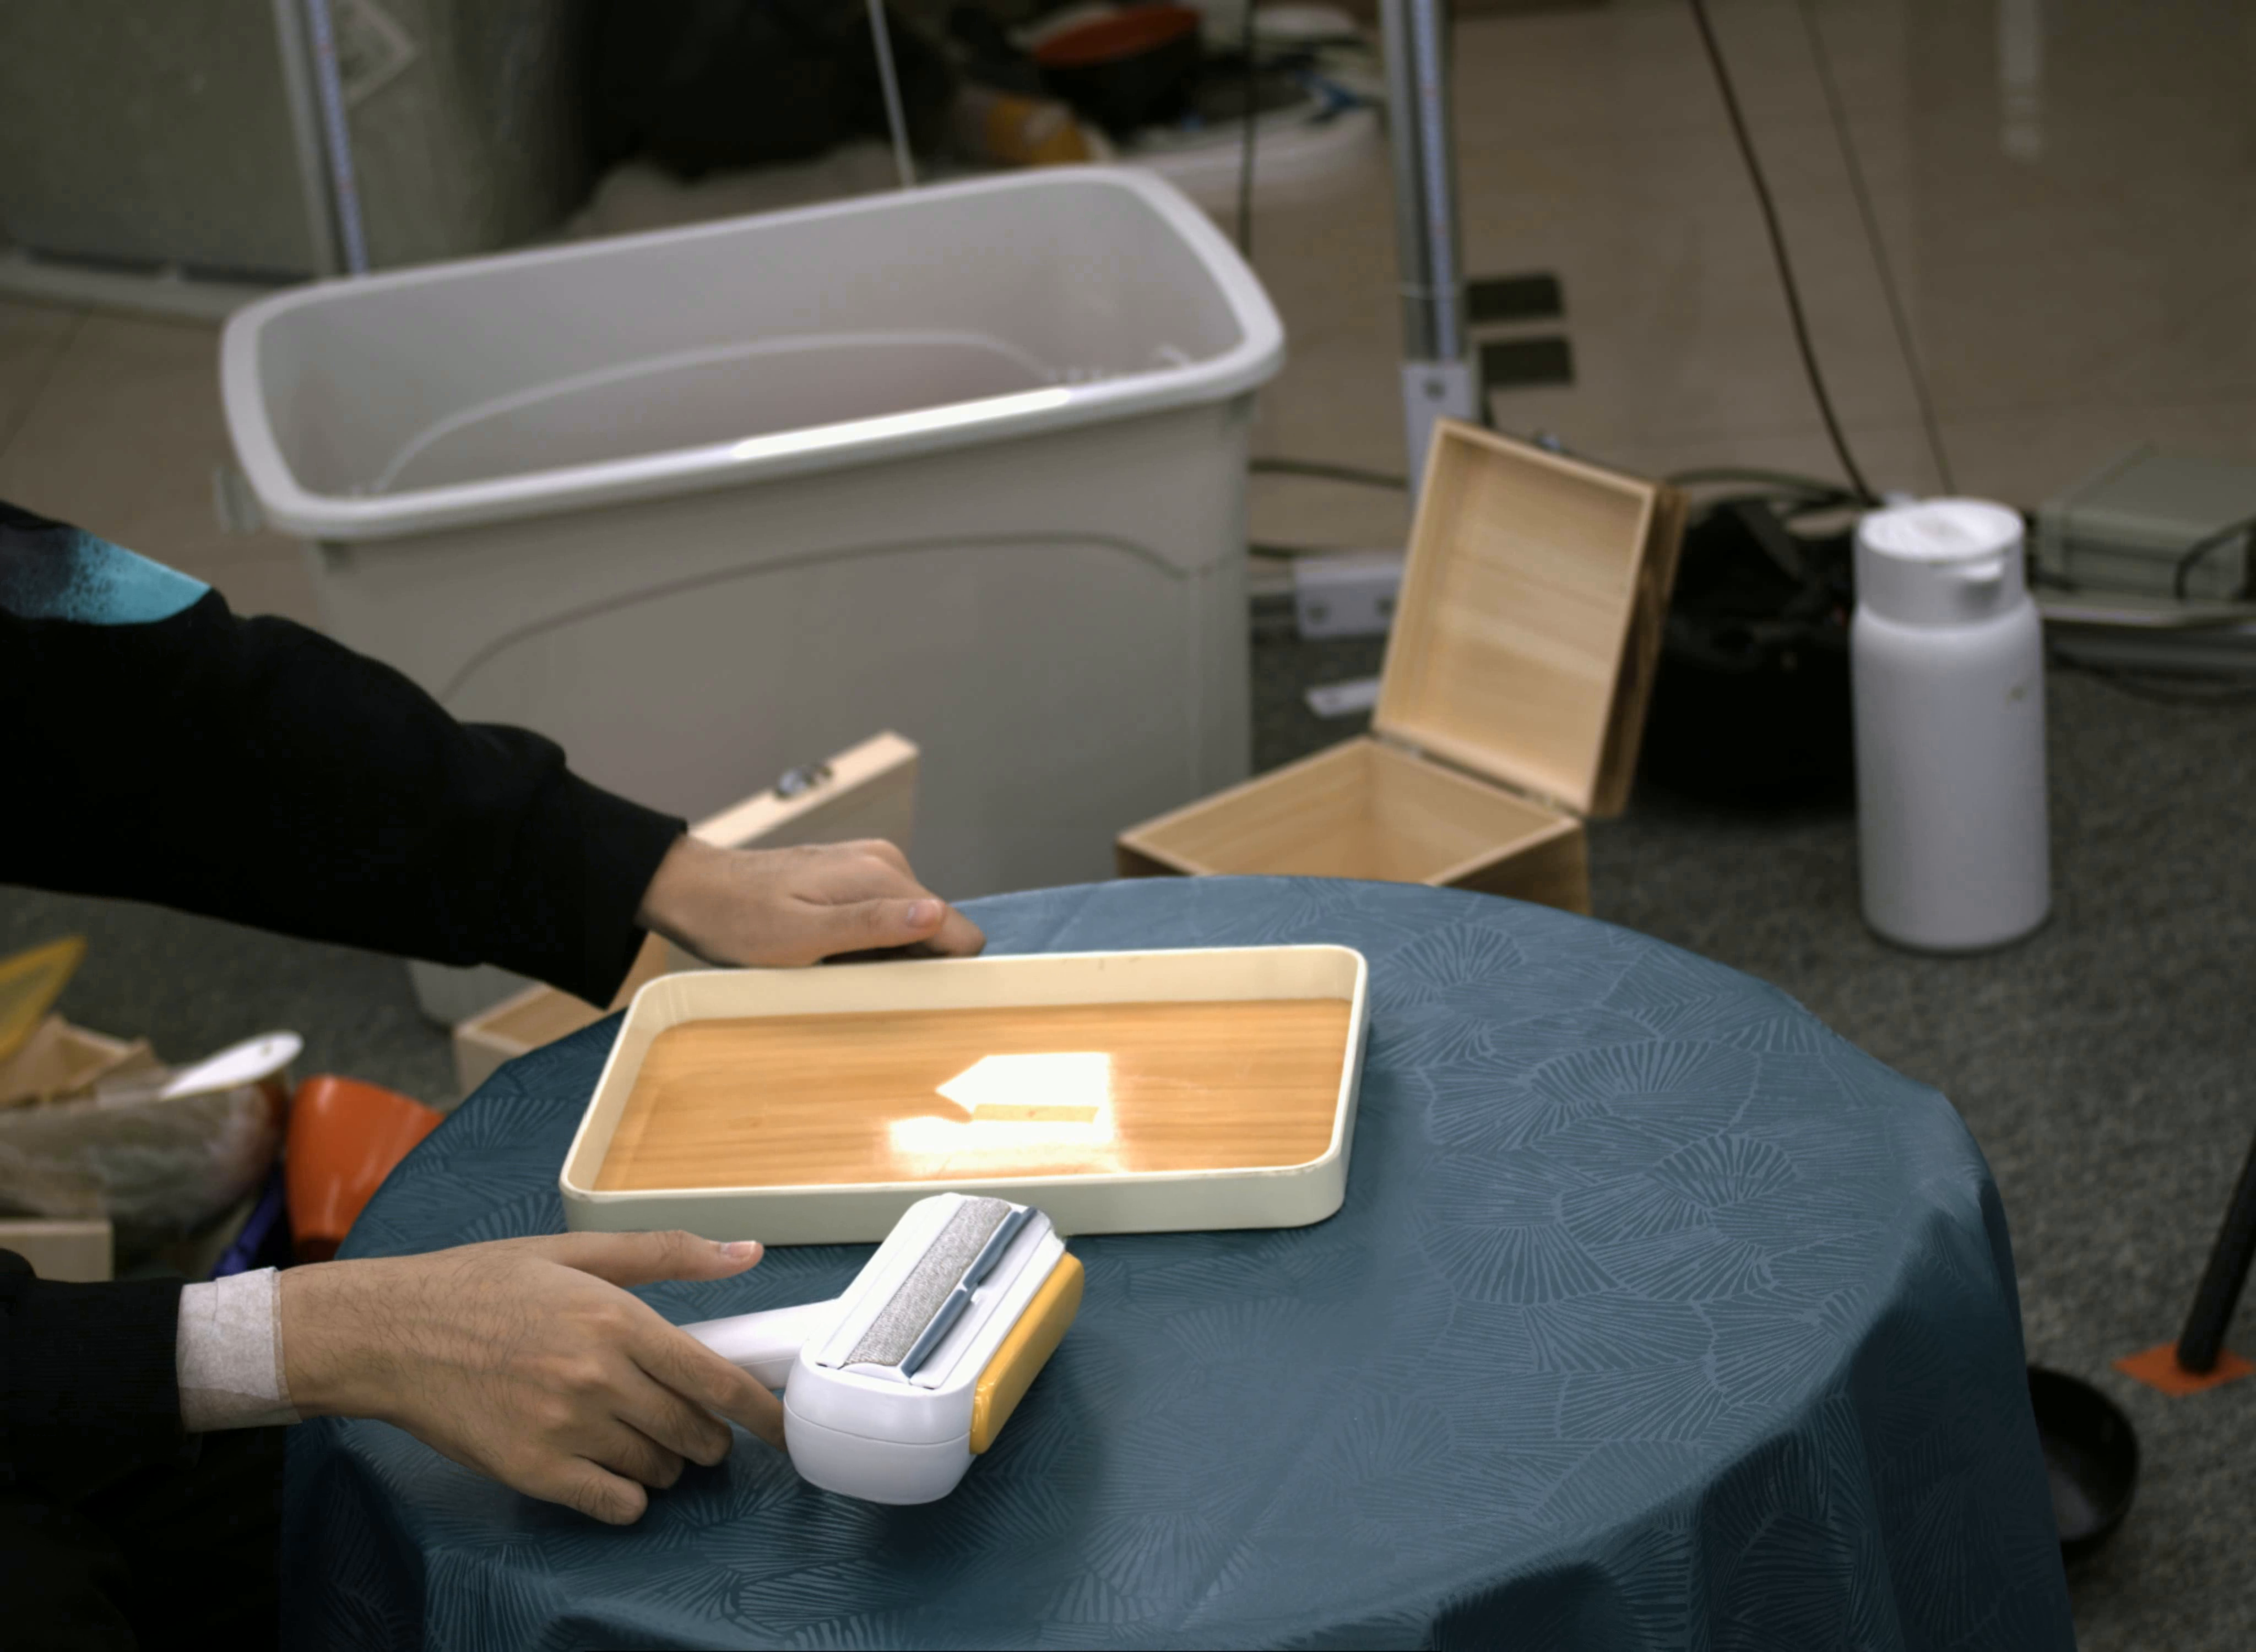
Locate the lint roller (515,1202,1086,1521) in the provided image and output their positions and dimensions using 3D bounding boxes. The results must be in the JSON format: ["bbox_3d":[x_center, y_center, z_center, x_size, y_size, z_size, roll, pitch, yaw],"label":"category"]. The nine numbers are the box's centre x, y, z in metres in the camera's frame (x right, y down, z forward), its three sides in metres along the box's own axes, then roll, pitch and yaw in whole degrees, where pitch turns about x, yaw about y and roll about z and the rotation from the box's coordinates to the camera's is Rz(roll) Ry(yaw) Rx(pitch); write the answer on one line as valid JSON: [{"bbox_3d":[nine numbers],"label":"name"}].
[{"bbox_3d":[-0.125,0.186,1.986,0.192,0.075,0.190,3,21,16],"label":"lint roller"}]

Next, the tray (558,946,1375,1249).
[{"bbox_3d":[-0.059,0.104,2.201,0.300,0.028,0.189,-3,24,9],"label":"tray"}]
